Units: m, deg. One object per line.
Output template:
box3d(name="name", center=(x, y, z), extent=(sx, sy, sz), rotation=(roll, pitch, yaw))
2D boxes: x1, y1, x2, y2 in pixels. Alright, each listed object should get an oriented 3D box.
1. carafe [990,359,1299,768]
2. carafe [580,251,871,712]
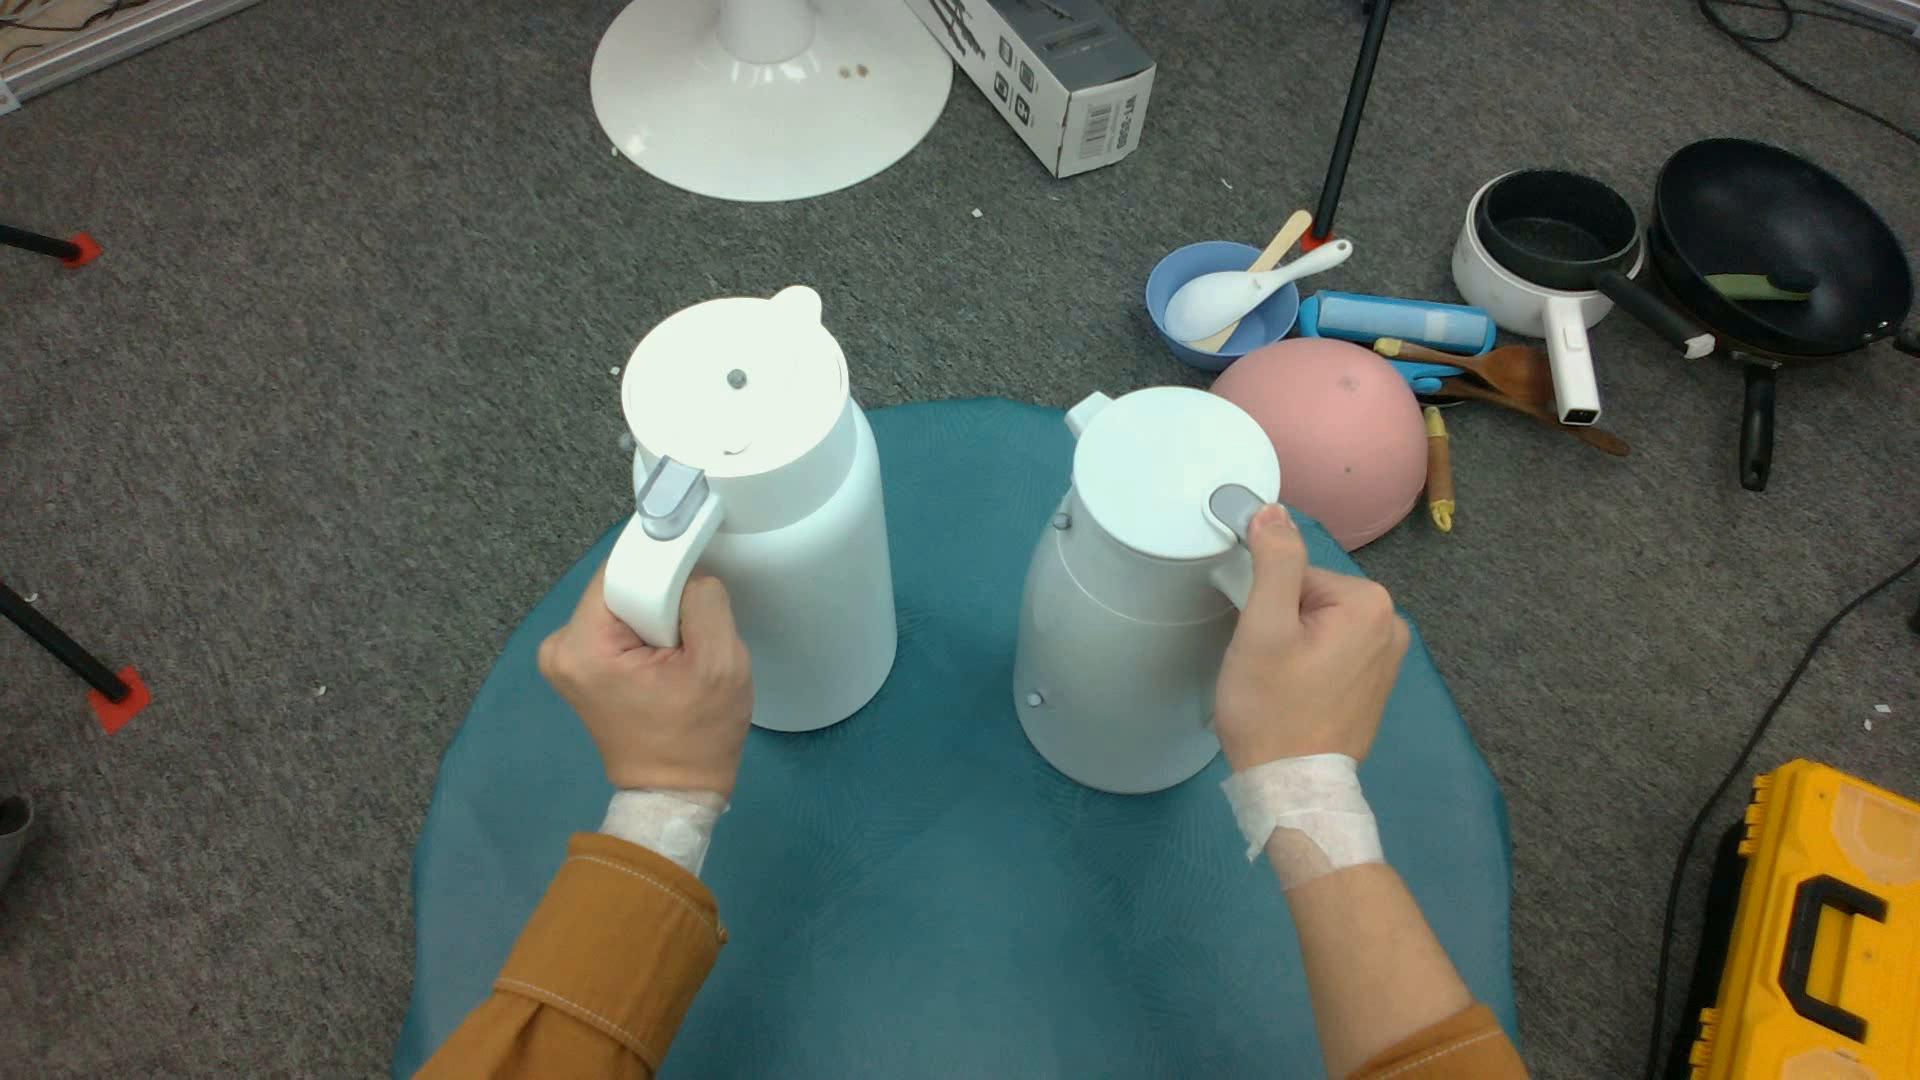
box3d(name="carafe", center=(0.097, 0.025, 0.702), extent=(0.133, 0.247, 0.168), rotation=(-37, 68, -19))
box3d(name="carafe", center=(-0.115, 0.001, 0.702), extent=(0.124, 0.267, 0.173), rotation=(20, 62, 8))
